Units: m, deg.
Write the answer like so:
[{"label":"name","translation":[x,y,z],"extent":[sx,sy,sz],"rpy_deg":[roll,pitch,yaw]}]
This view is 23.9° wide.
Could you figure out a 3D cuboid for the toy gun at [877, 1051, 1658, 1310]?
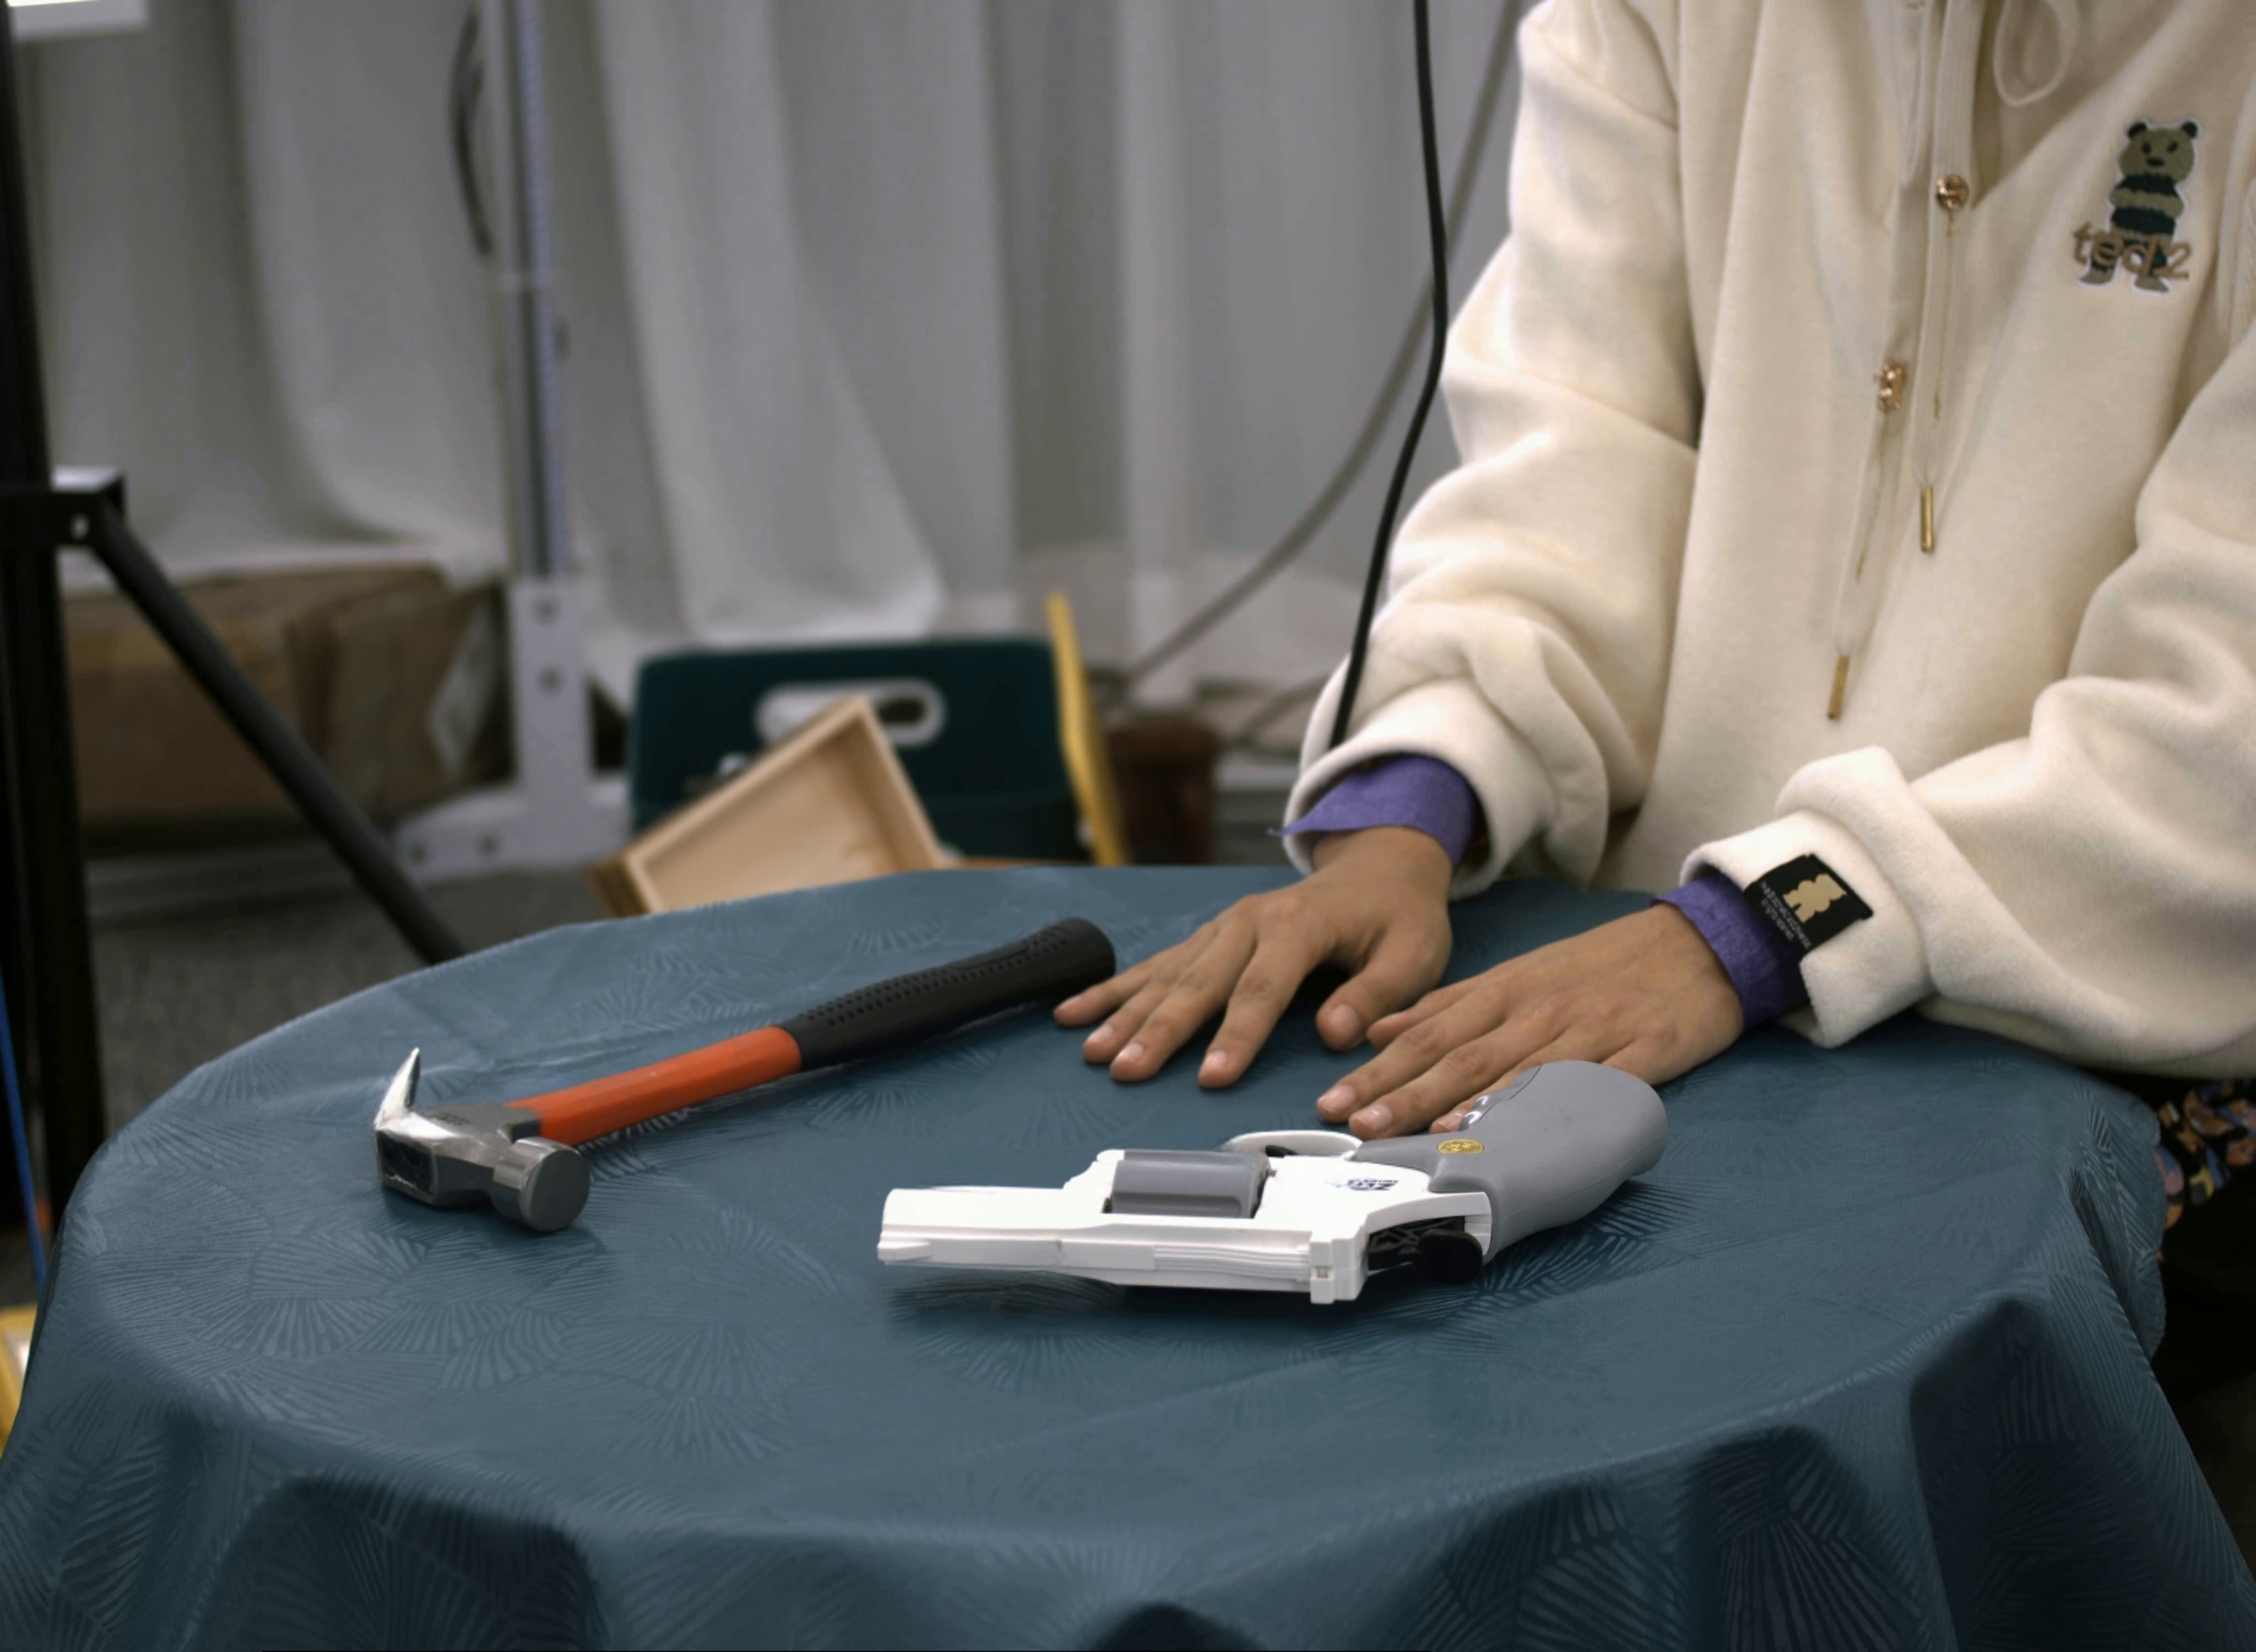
[{"label":"toy gun","translation":[0.042,0.100,1.503],"extent":[0.210,0.039,0.141],"rpy_deg":[2,19,11]}]

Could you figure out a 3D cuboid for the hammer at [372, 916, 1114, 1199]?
[{"label":"hammer","translation":[-0.114,0.069,1.664],"extent":[0.271,0.026,0.113],"rpy_deg":[-16,12,-40]}]
